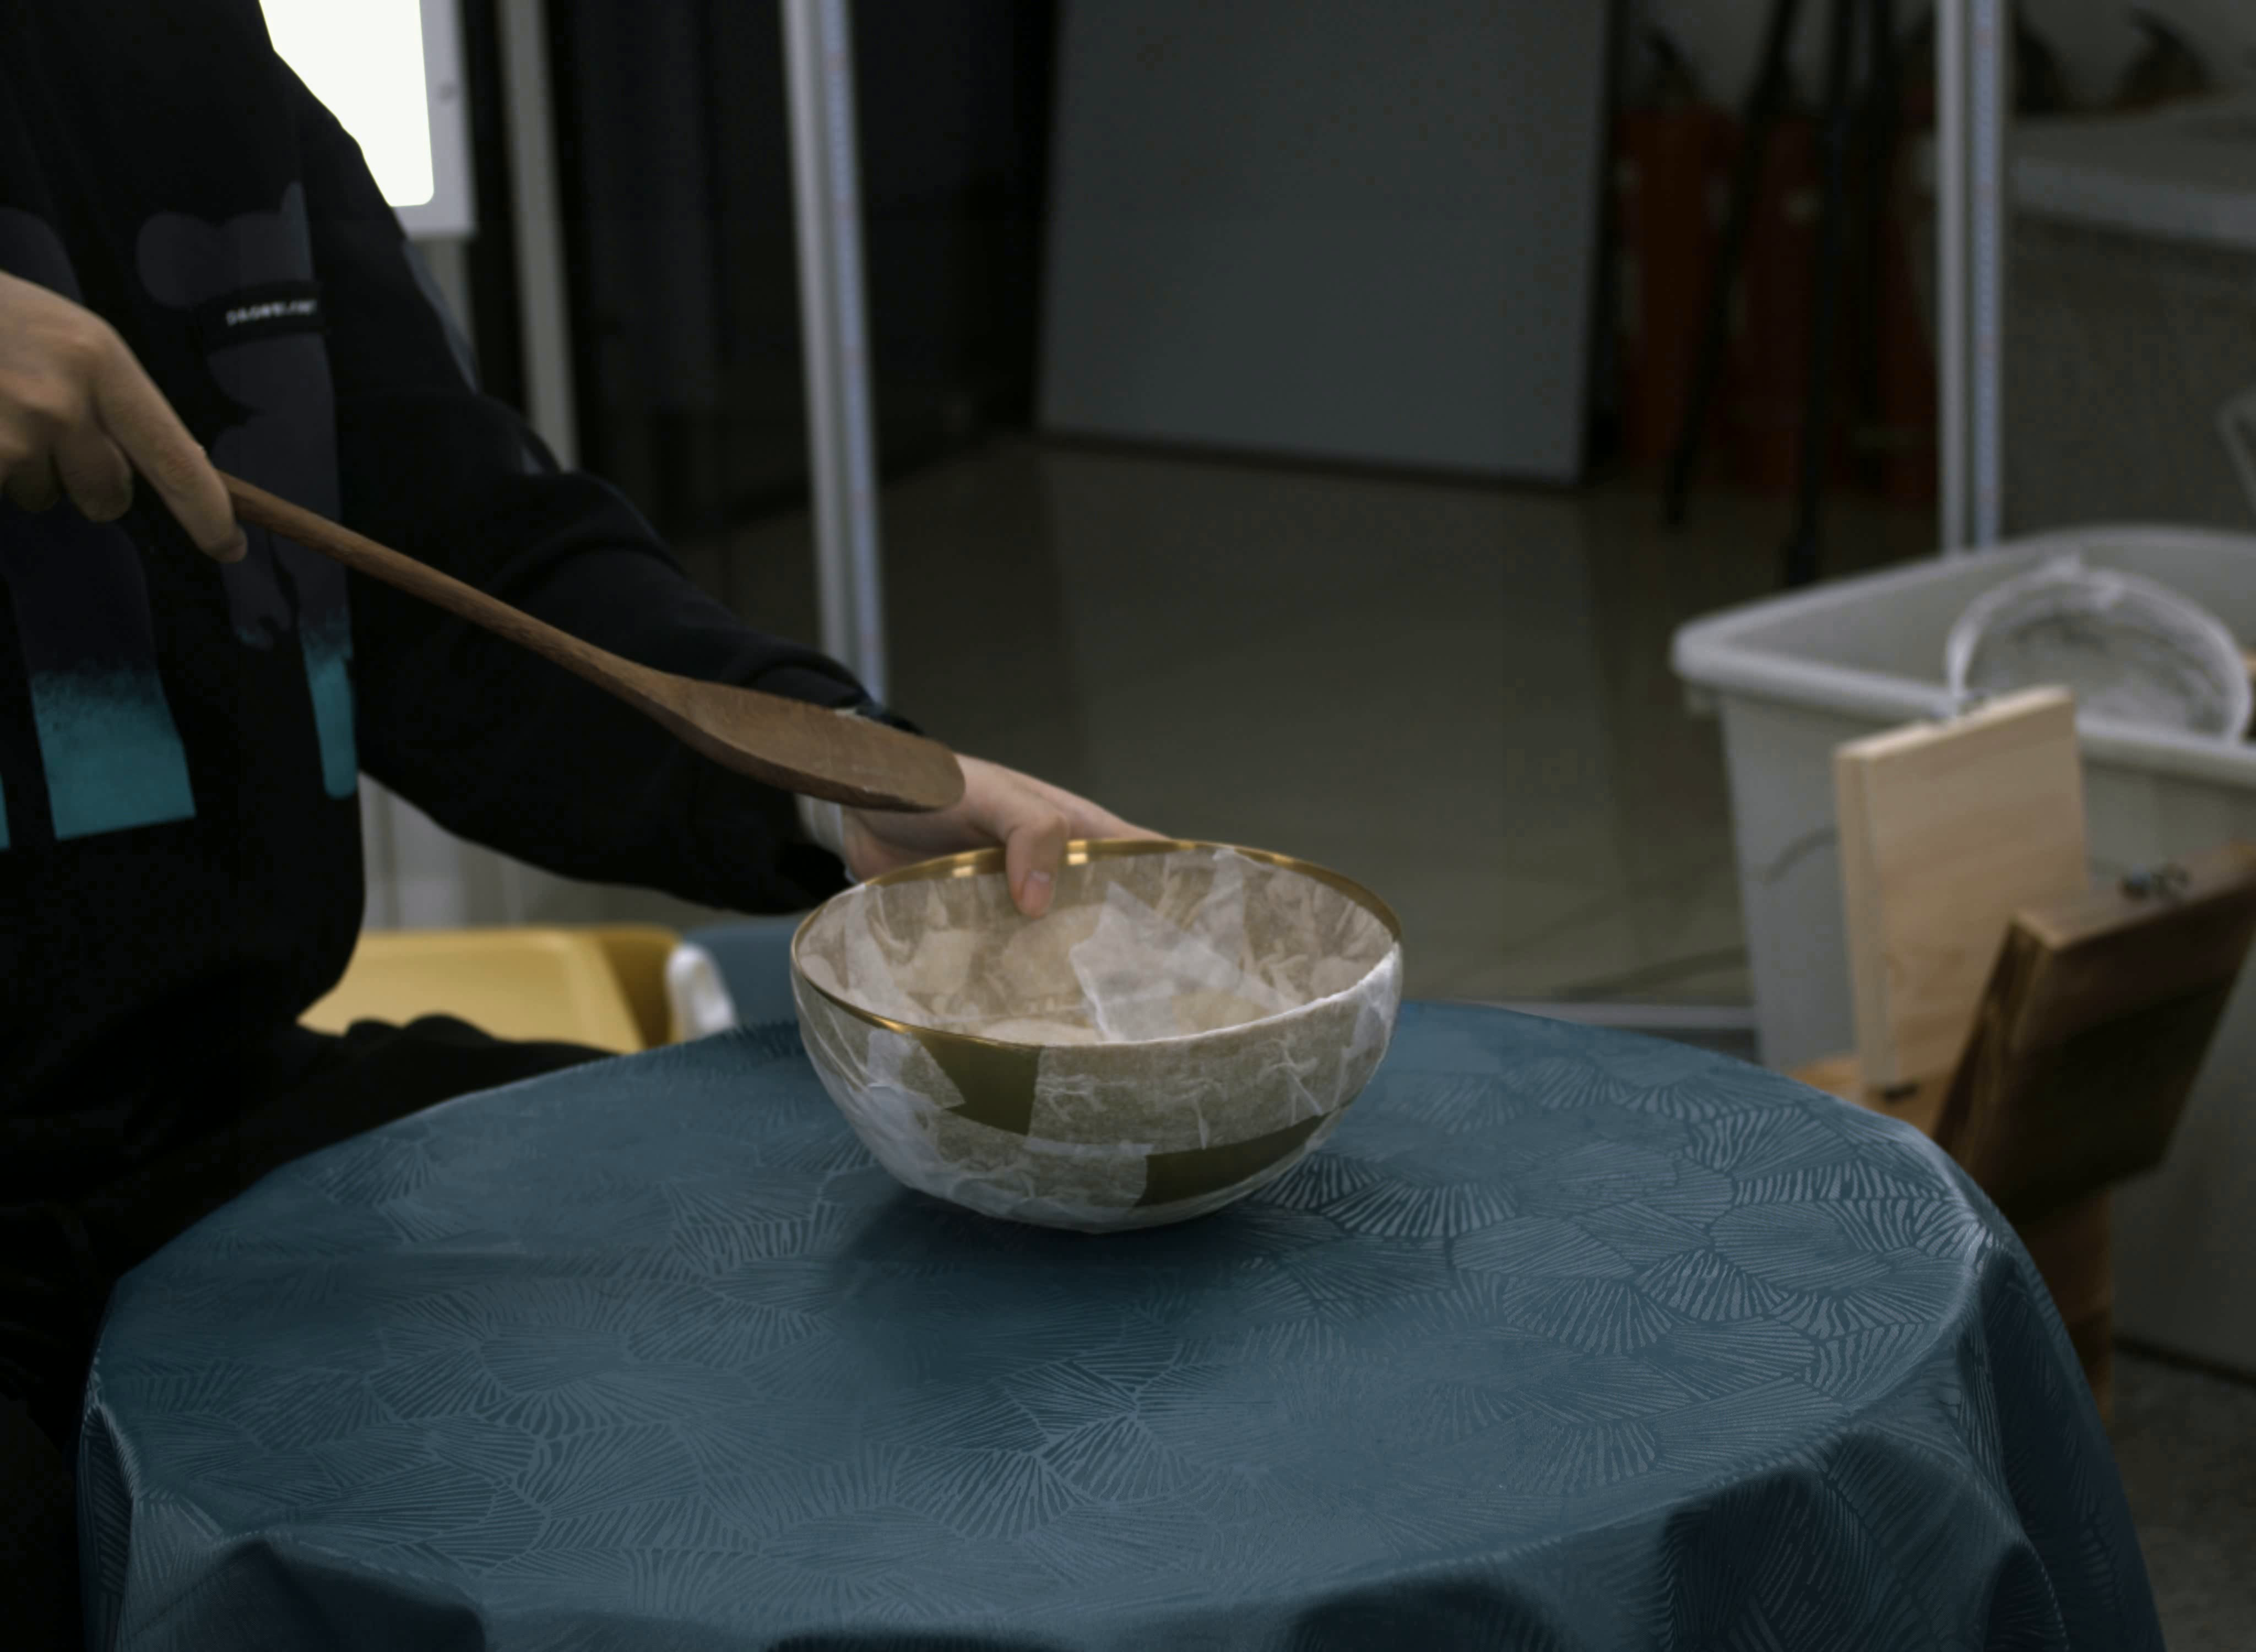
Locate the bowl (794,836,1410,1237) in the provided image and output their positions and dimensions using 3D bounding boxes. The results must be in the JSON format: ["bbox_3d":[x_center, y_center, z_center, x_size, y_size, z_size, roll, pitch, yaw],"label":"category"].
[{"bbox_3d":[-0.007,0.076,1.755,0.212,0.095,0.215,-4,18,0],"label":"bowl"}]

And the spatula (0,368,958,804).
[{"bbox_3d":[-0.230,-0.083,1.685,0.383,0.016,0.096,23,14,3],"label":"spatula"}]
